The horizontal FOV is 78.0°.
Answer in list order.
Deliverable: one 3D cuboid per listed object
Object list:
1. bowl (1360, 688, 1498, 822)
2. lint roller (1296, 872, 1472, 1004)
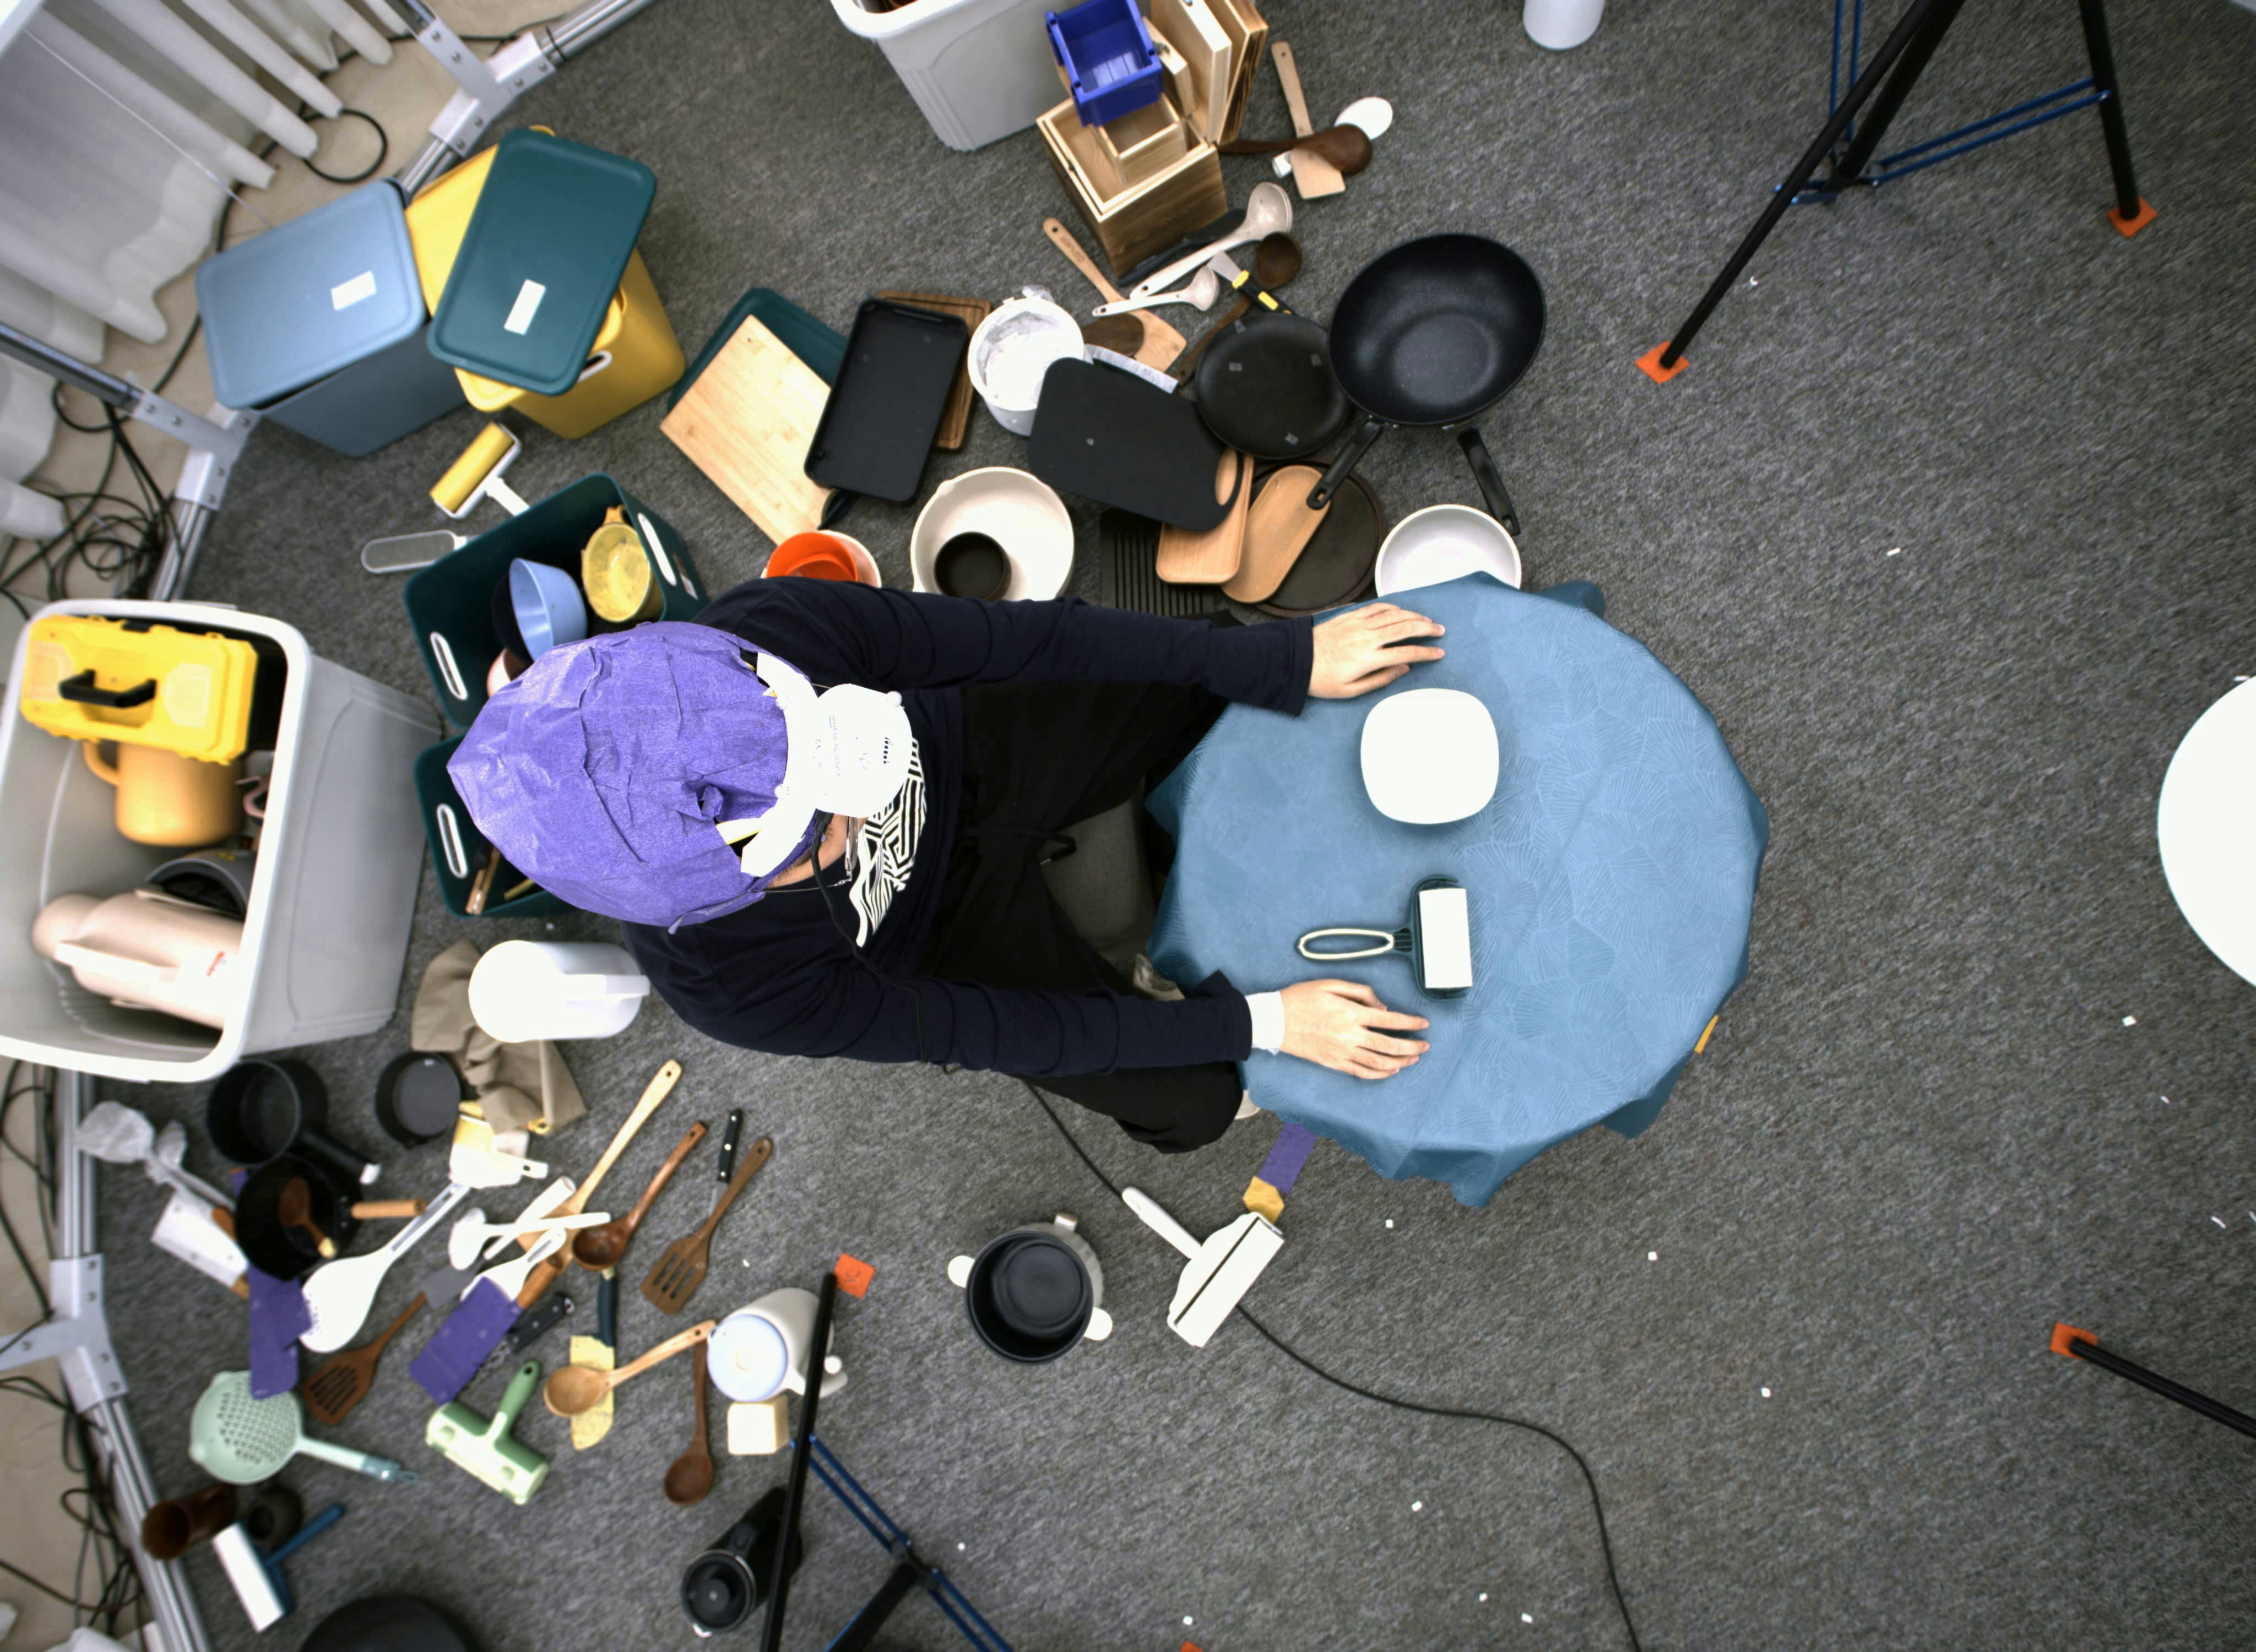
[{"bbox_3d":[0.311,-0.072,1.431,0.152,0.058,0.151,-1,87,8],"label":"bowl"},{"bbox_3d":[0.262,0.120,1.439,0.181,0.048,0.133,-5,86,13],"label":"lint roller"}]
